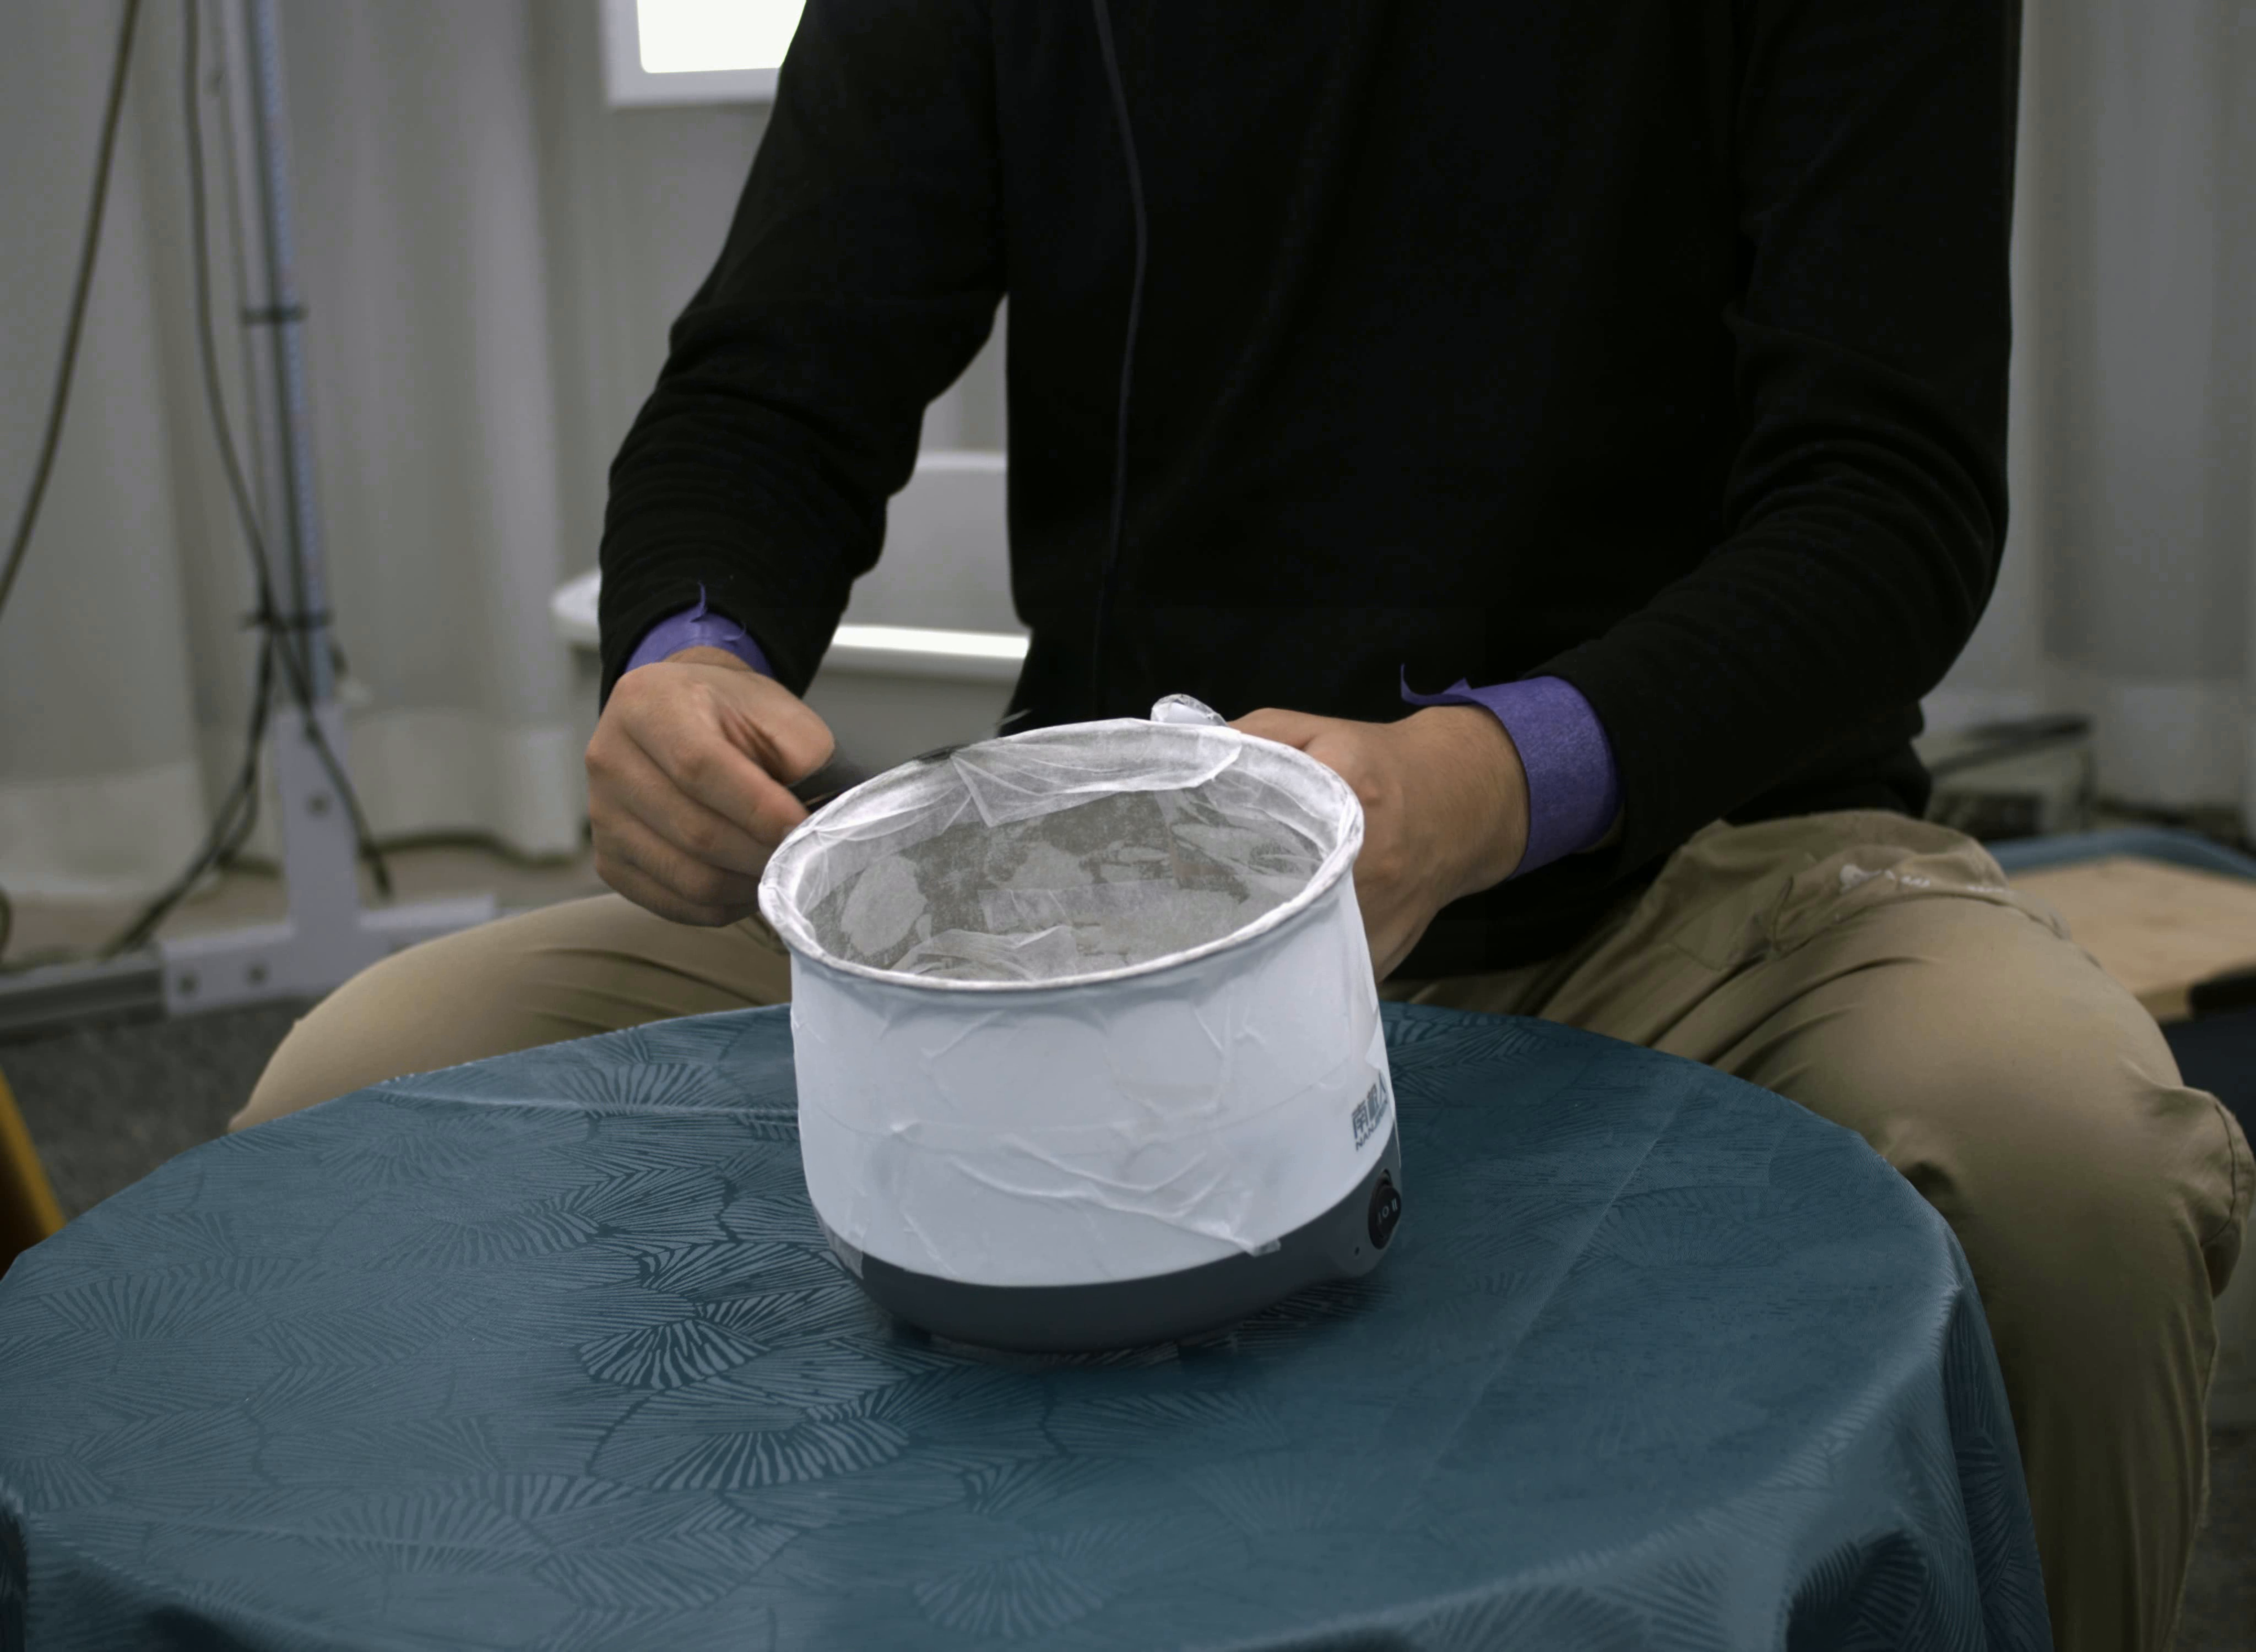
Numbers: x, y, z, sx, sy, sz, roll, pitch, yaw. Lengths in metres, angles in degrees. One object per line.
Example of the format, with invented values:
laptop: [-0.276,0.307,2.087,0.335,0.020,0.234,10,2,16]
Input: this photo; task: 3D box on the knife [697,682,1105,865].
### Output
knife: [-0.074,-0.017,1.696,0.024,0.016,0.238,-22,1,-35]

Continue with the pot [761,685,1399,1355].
pot: [-0.003,0.050,1.634,0.179,0.135,0.235,3,27,20]
